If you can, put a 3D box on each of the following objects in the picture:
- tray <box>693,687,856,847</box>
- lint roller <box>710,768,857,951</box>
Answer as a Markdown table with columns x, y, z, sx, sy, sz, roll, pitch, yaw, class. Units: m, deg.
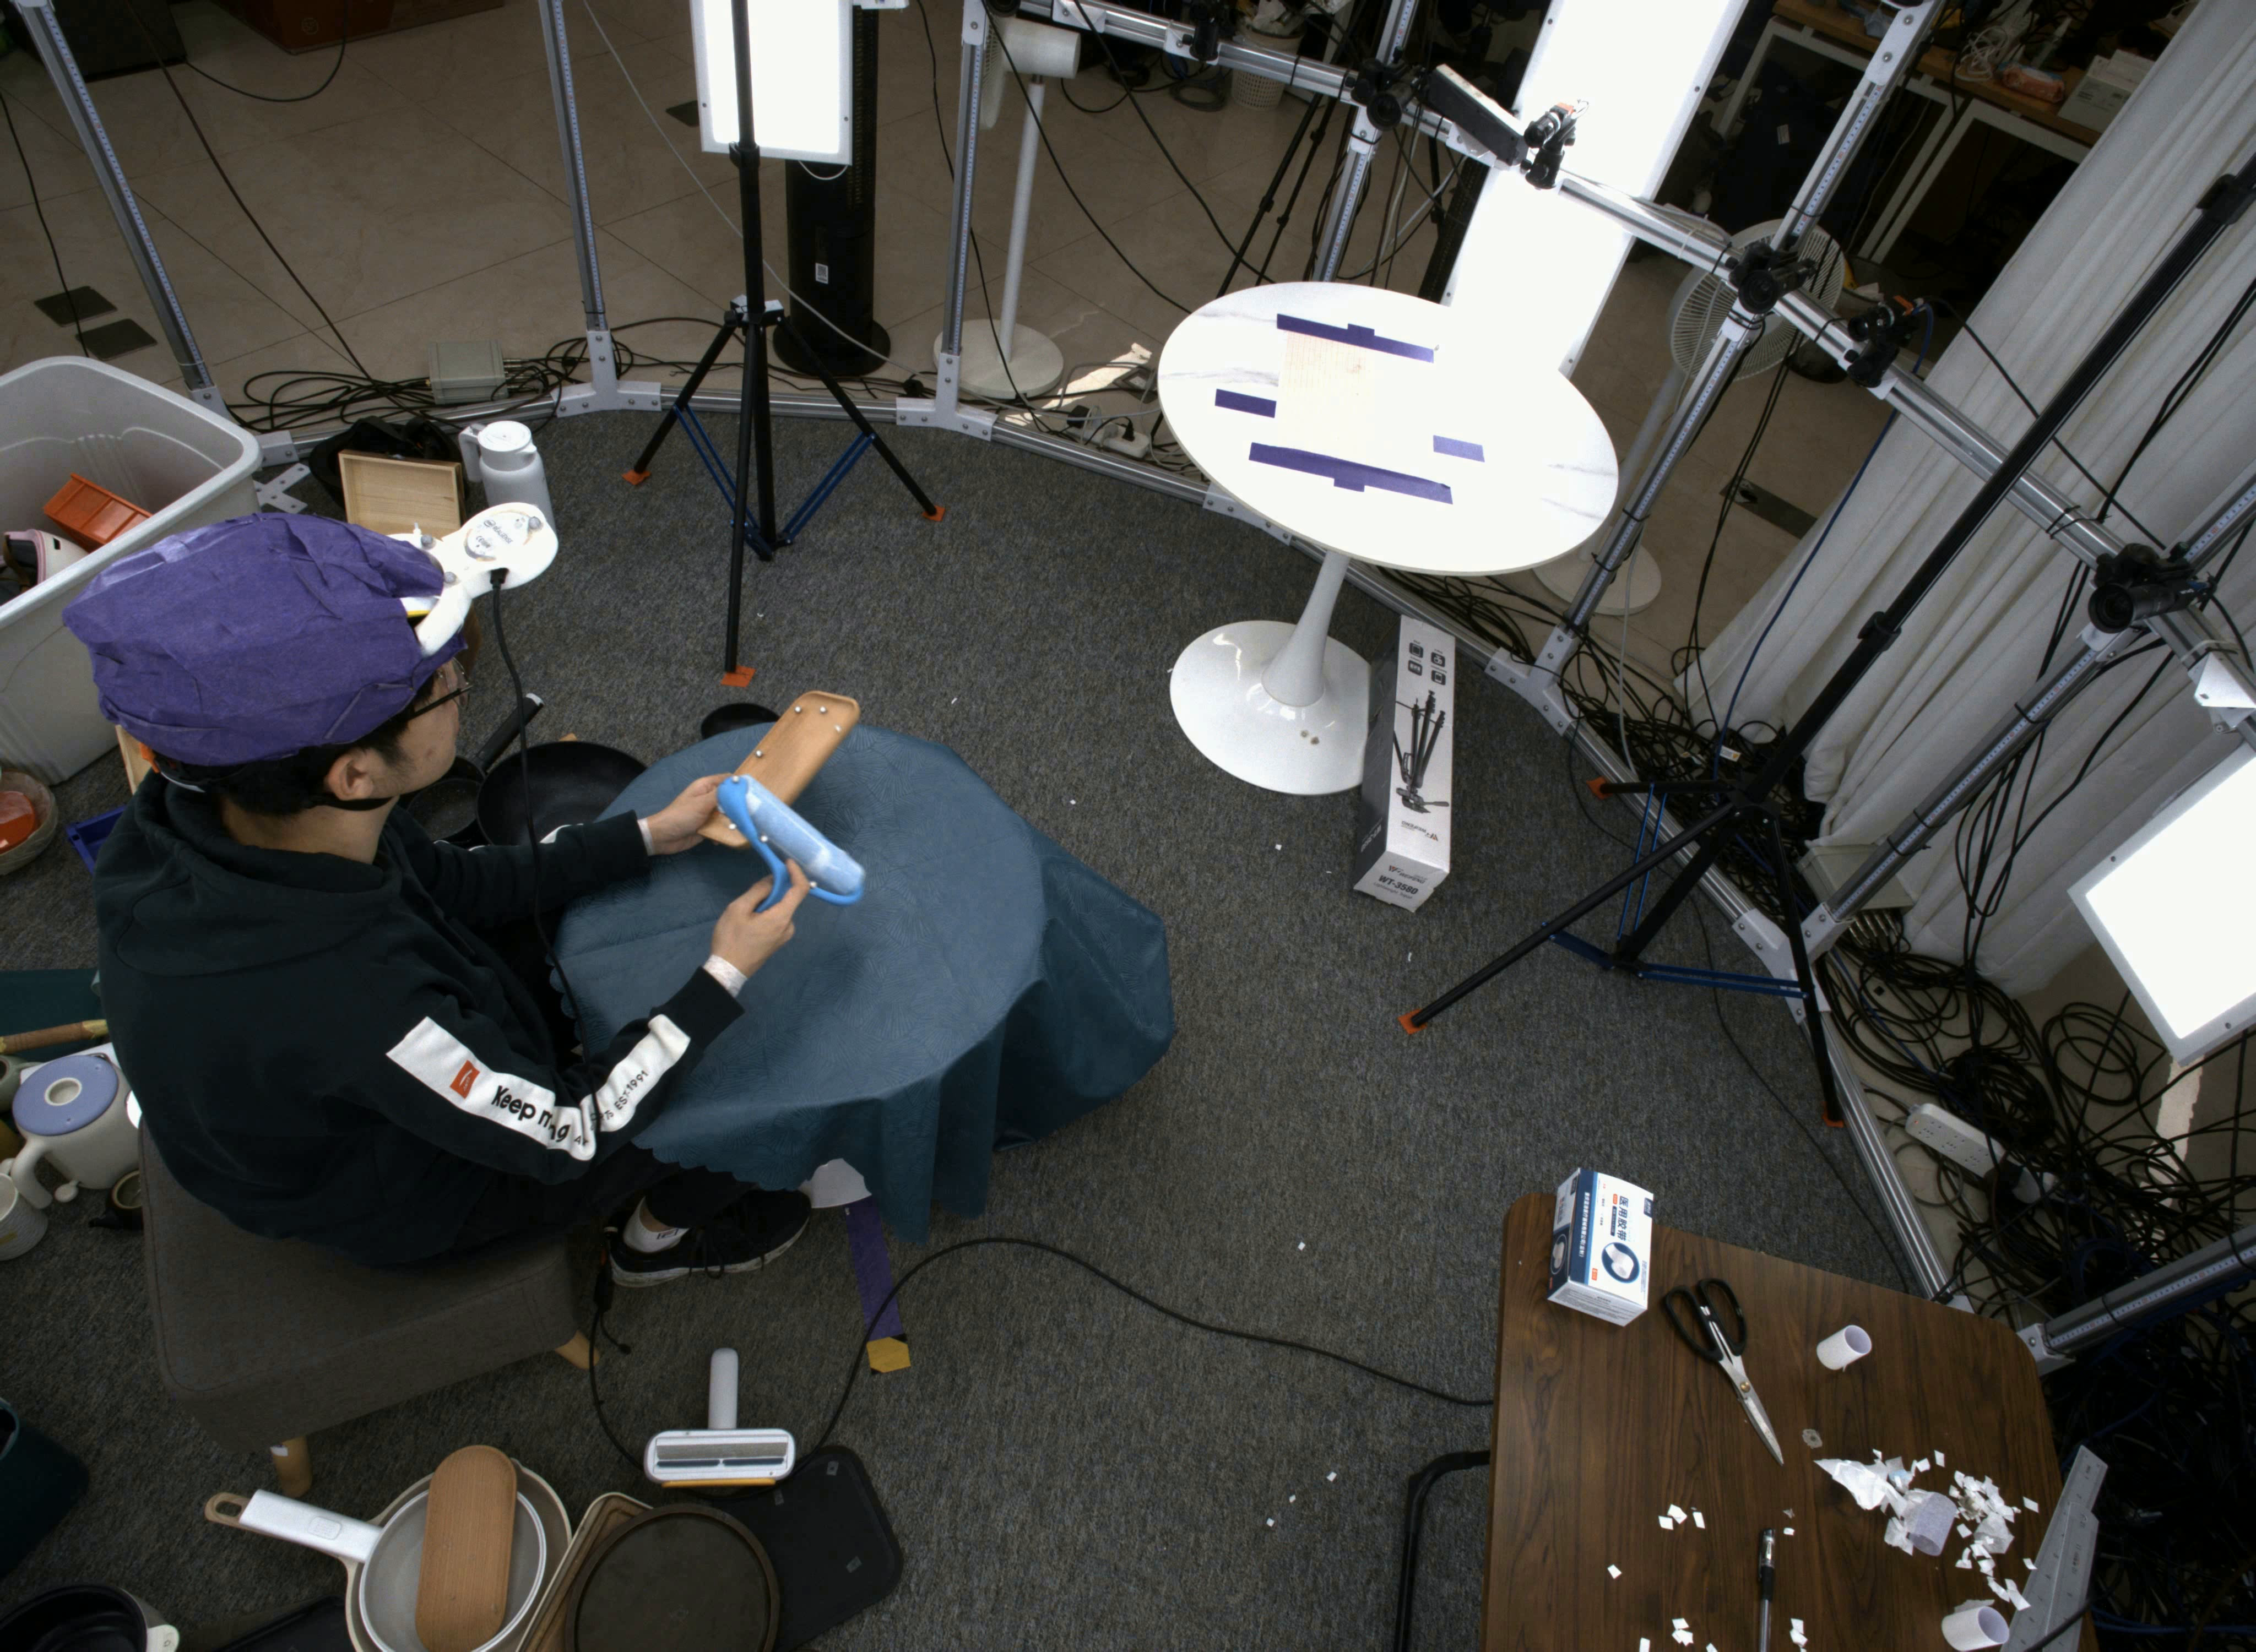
| x | y | z | sx | sy | sz | roll | pitch | yaw | class |
| --- | --- | --- | --- | --- | --- | --- | --- | --- | --- |
| -0.452 | -0.078 | 1.658 | 0.126 | 0.024 | 0.250 | 13 | 60 | 41 | tray |
| -0.414 | 0.060 | 1.492 | 0.066 | 0.237 | 0.179 | -1 | 60 | 33 | lint roller |
